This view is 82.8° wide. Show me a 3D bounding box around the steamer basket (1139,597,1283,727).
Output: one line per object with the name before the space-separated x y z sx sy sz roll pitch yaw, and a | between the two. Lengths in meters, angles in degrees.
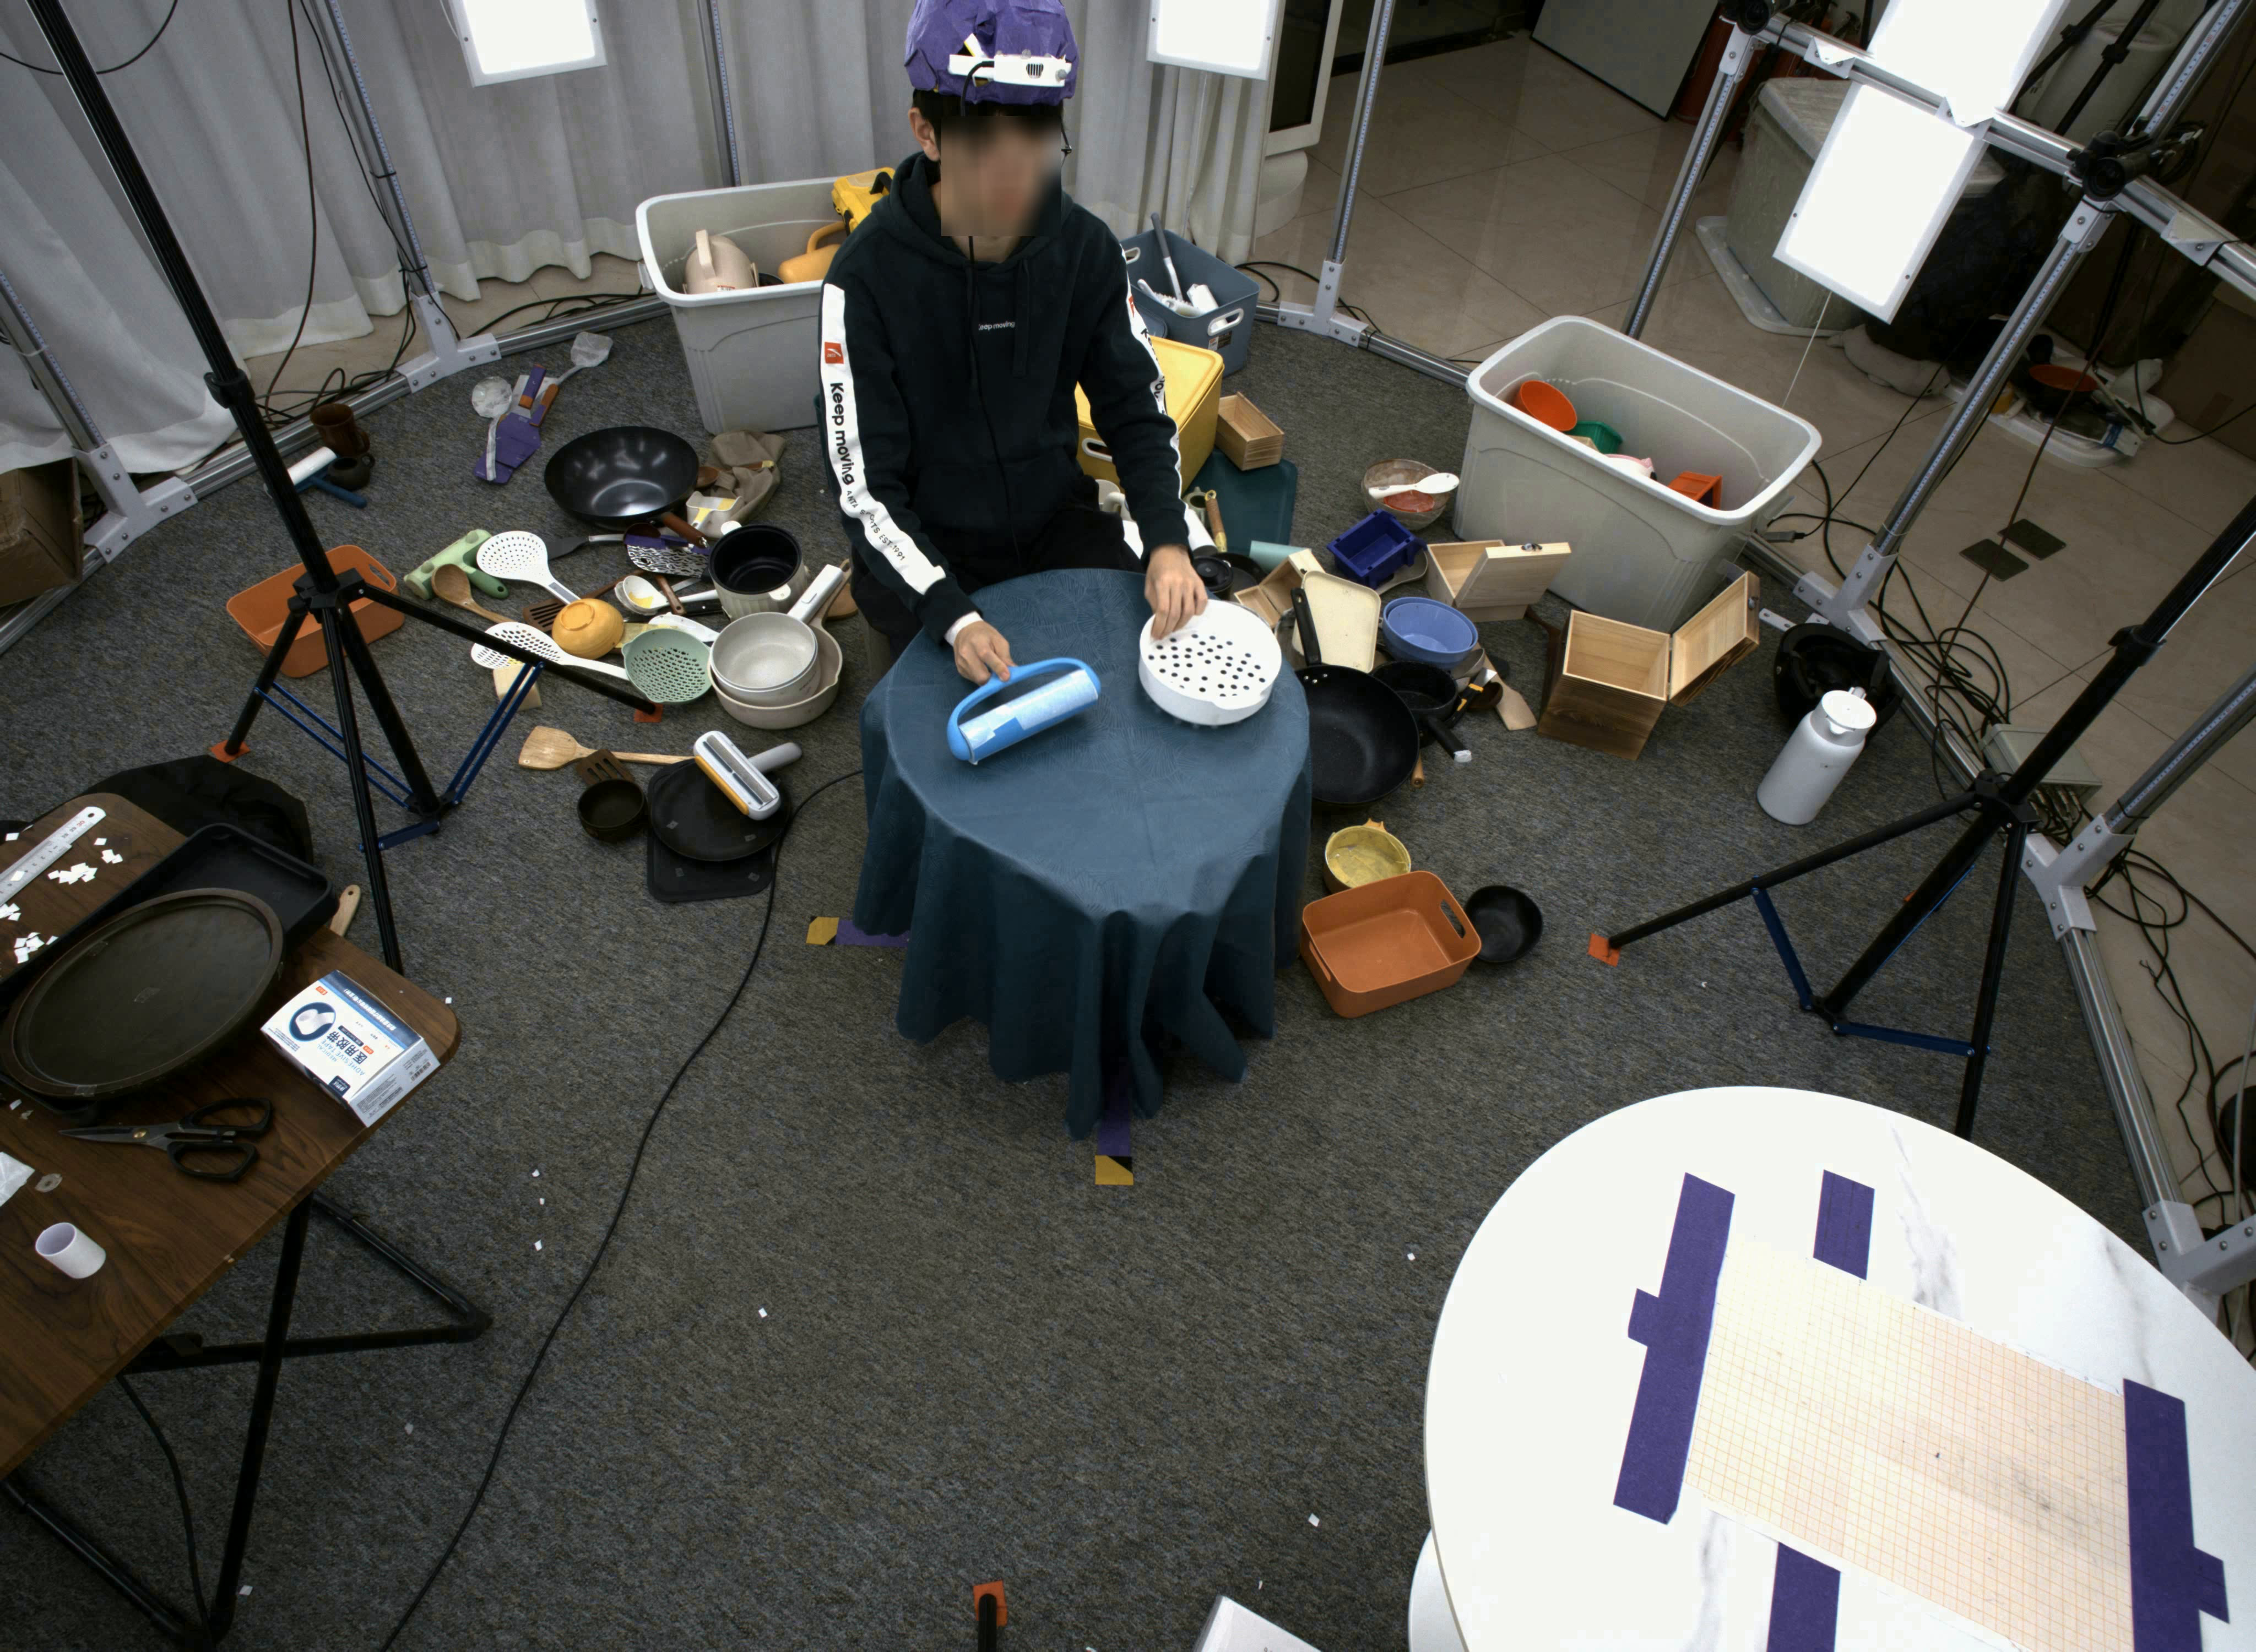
steamer basket | 0.115 -0.229 1.823 0.202 0.067 0.236 -11 52 -19

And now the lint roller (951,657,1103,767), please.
lint roller | -0.168 -0.185 1.763 0.230 0.066 0.184 -33 55 -18
